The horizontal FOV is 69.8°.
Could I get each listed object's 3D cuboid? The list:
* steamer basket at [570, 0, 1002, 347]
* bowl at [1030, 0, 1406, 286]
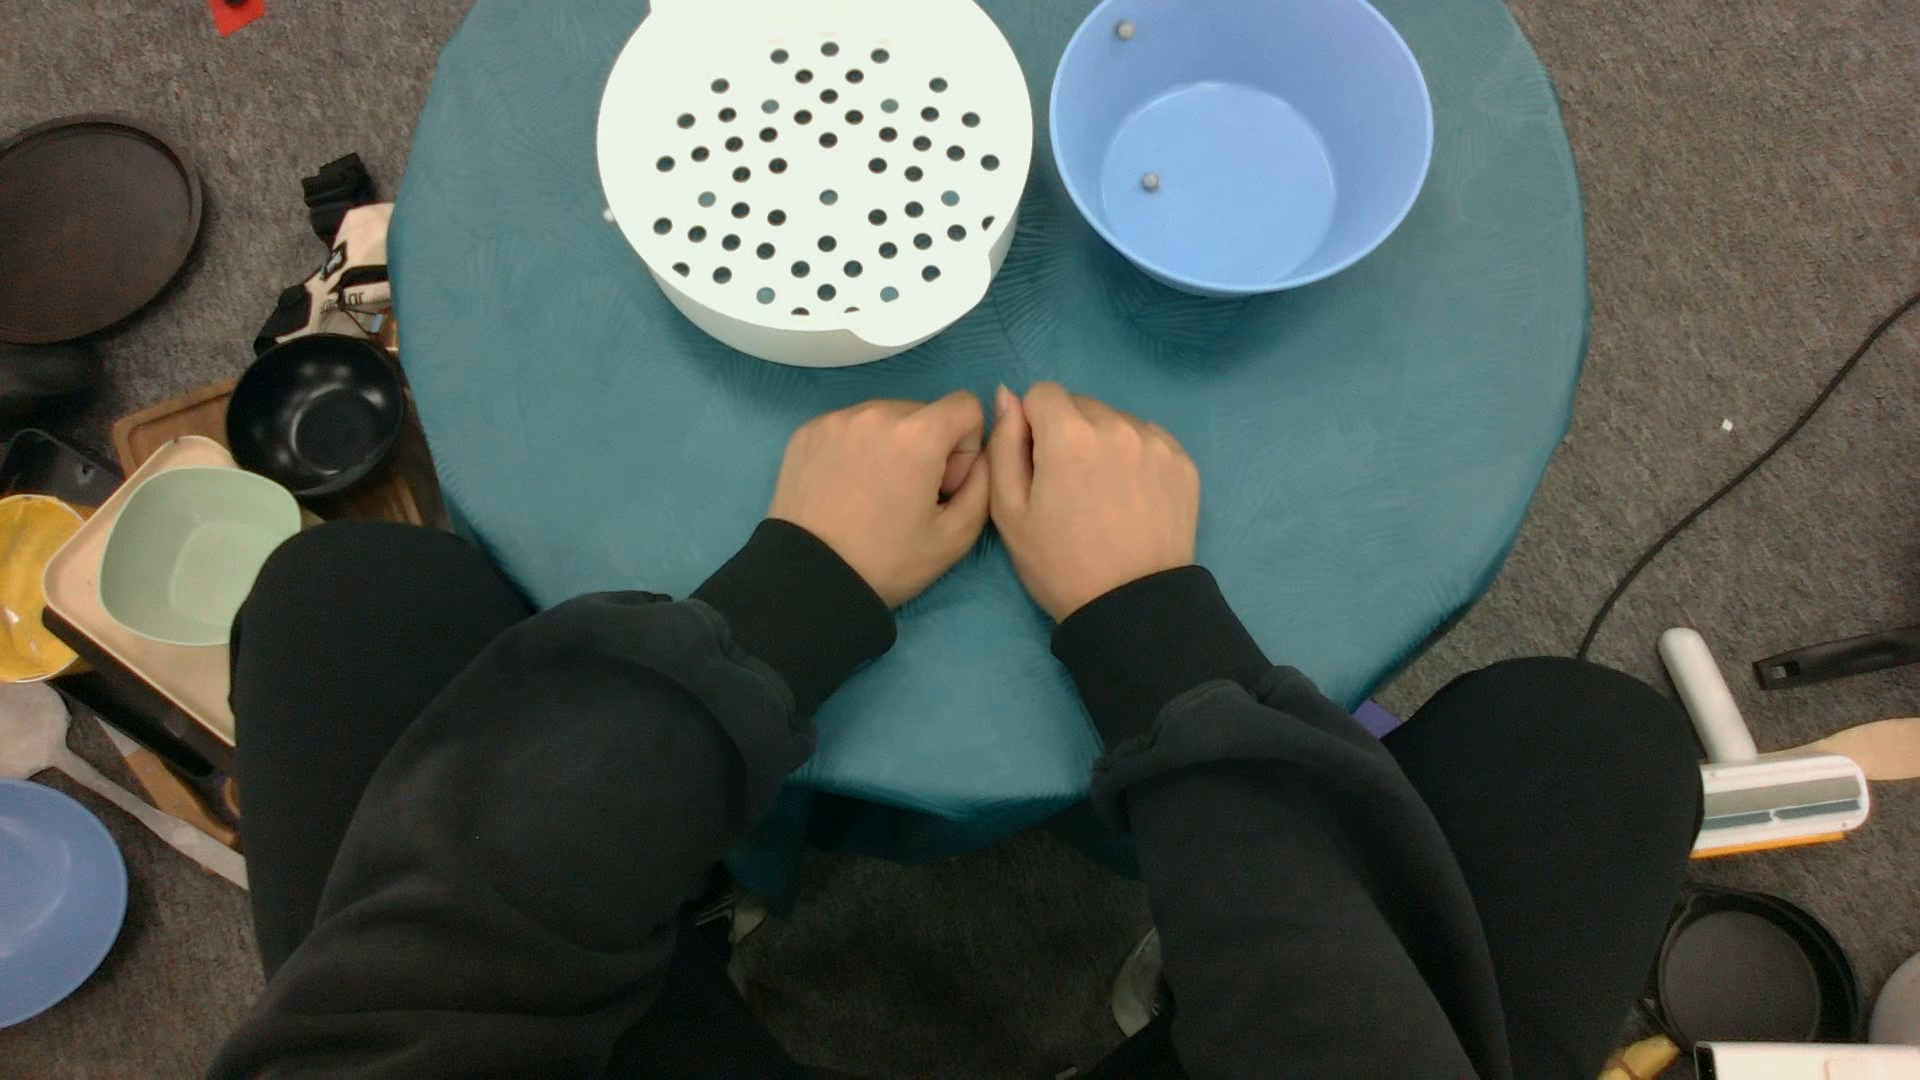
[{"bbox_3d":[-0.081,-0.191,0.667,0.202,0.069,0.231,-30,74,-9],"label":"steamer basket"},{"bbox_3d":[0.120,-0.191,0.670,0.176,0.070,0.176,0,72,-1],"label":"bowl"}]
